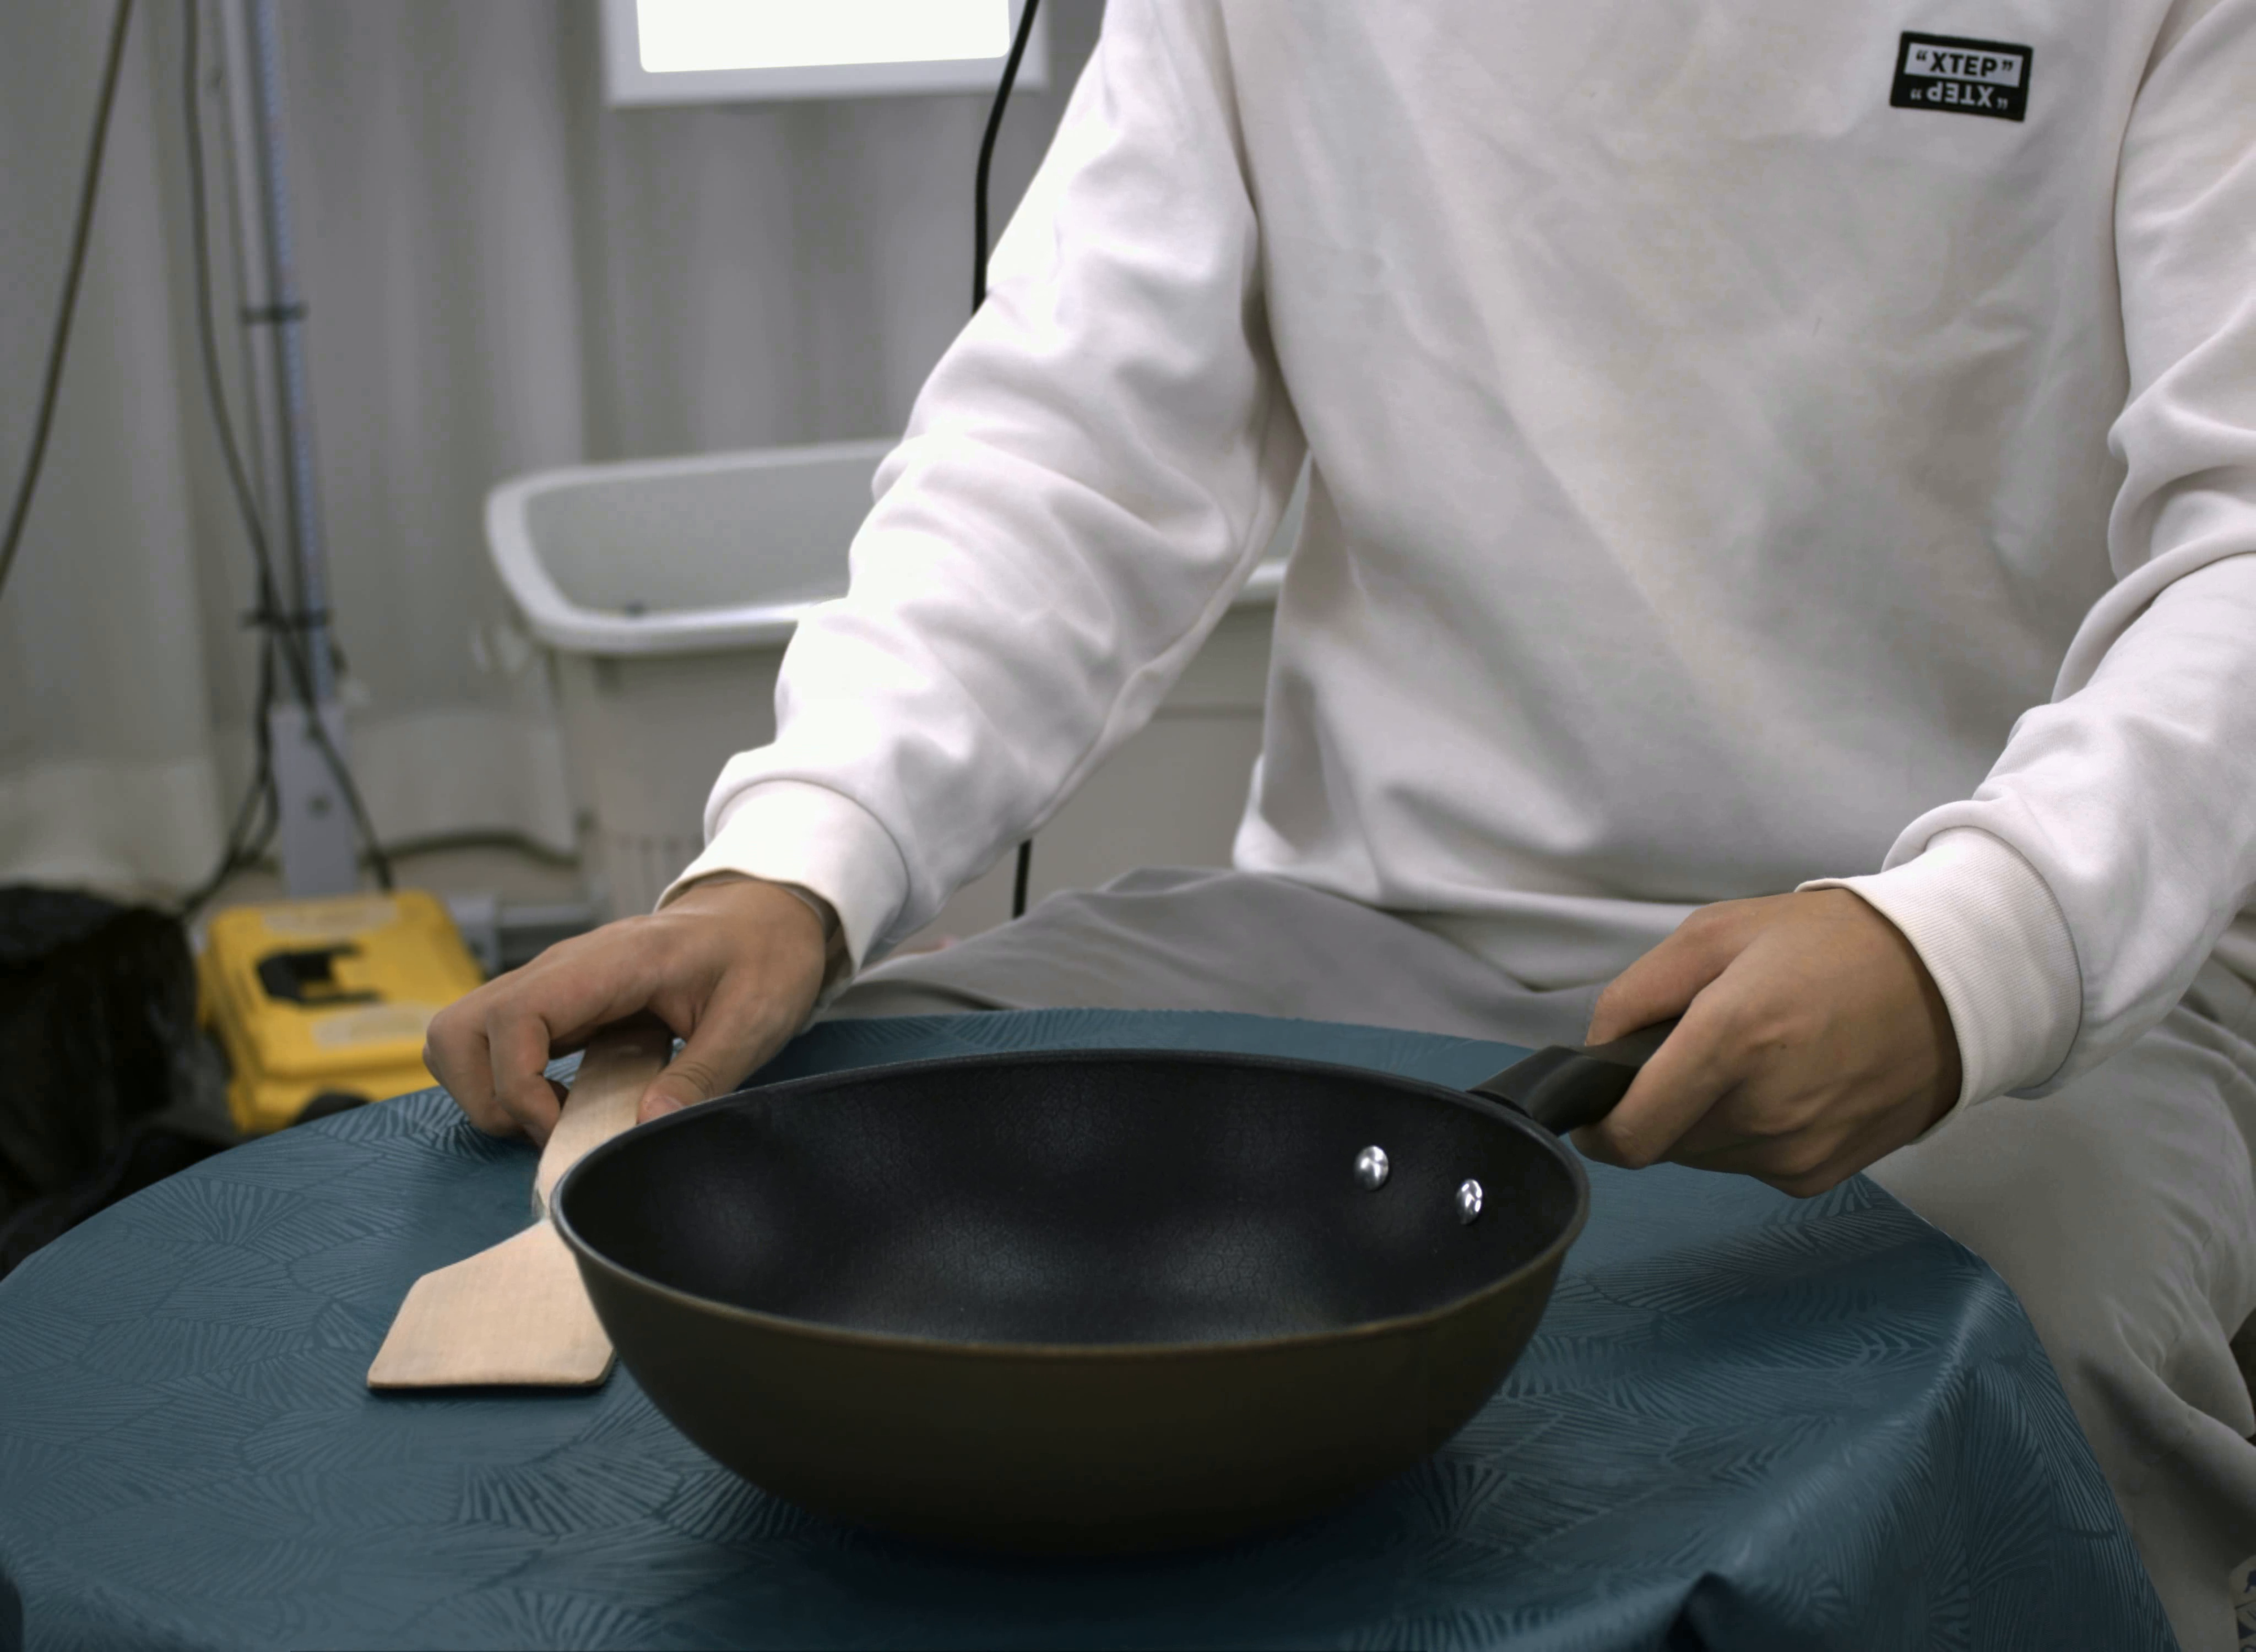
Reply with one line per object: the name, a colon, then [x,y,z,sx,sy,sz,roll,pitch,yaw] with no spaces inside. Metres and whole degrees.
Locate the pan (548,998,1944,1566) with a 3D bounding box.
pan: [0.055,0.121,1.532,0.461,0.086,0.290,-10,17,-38]

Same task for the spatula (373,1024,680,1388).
spatula: [-0.175,0.116,1.707,0.072,0.010,0.295,-2,18,5]
